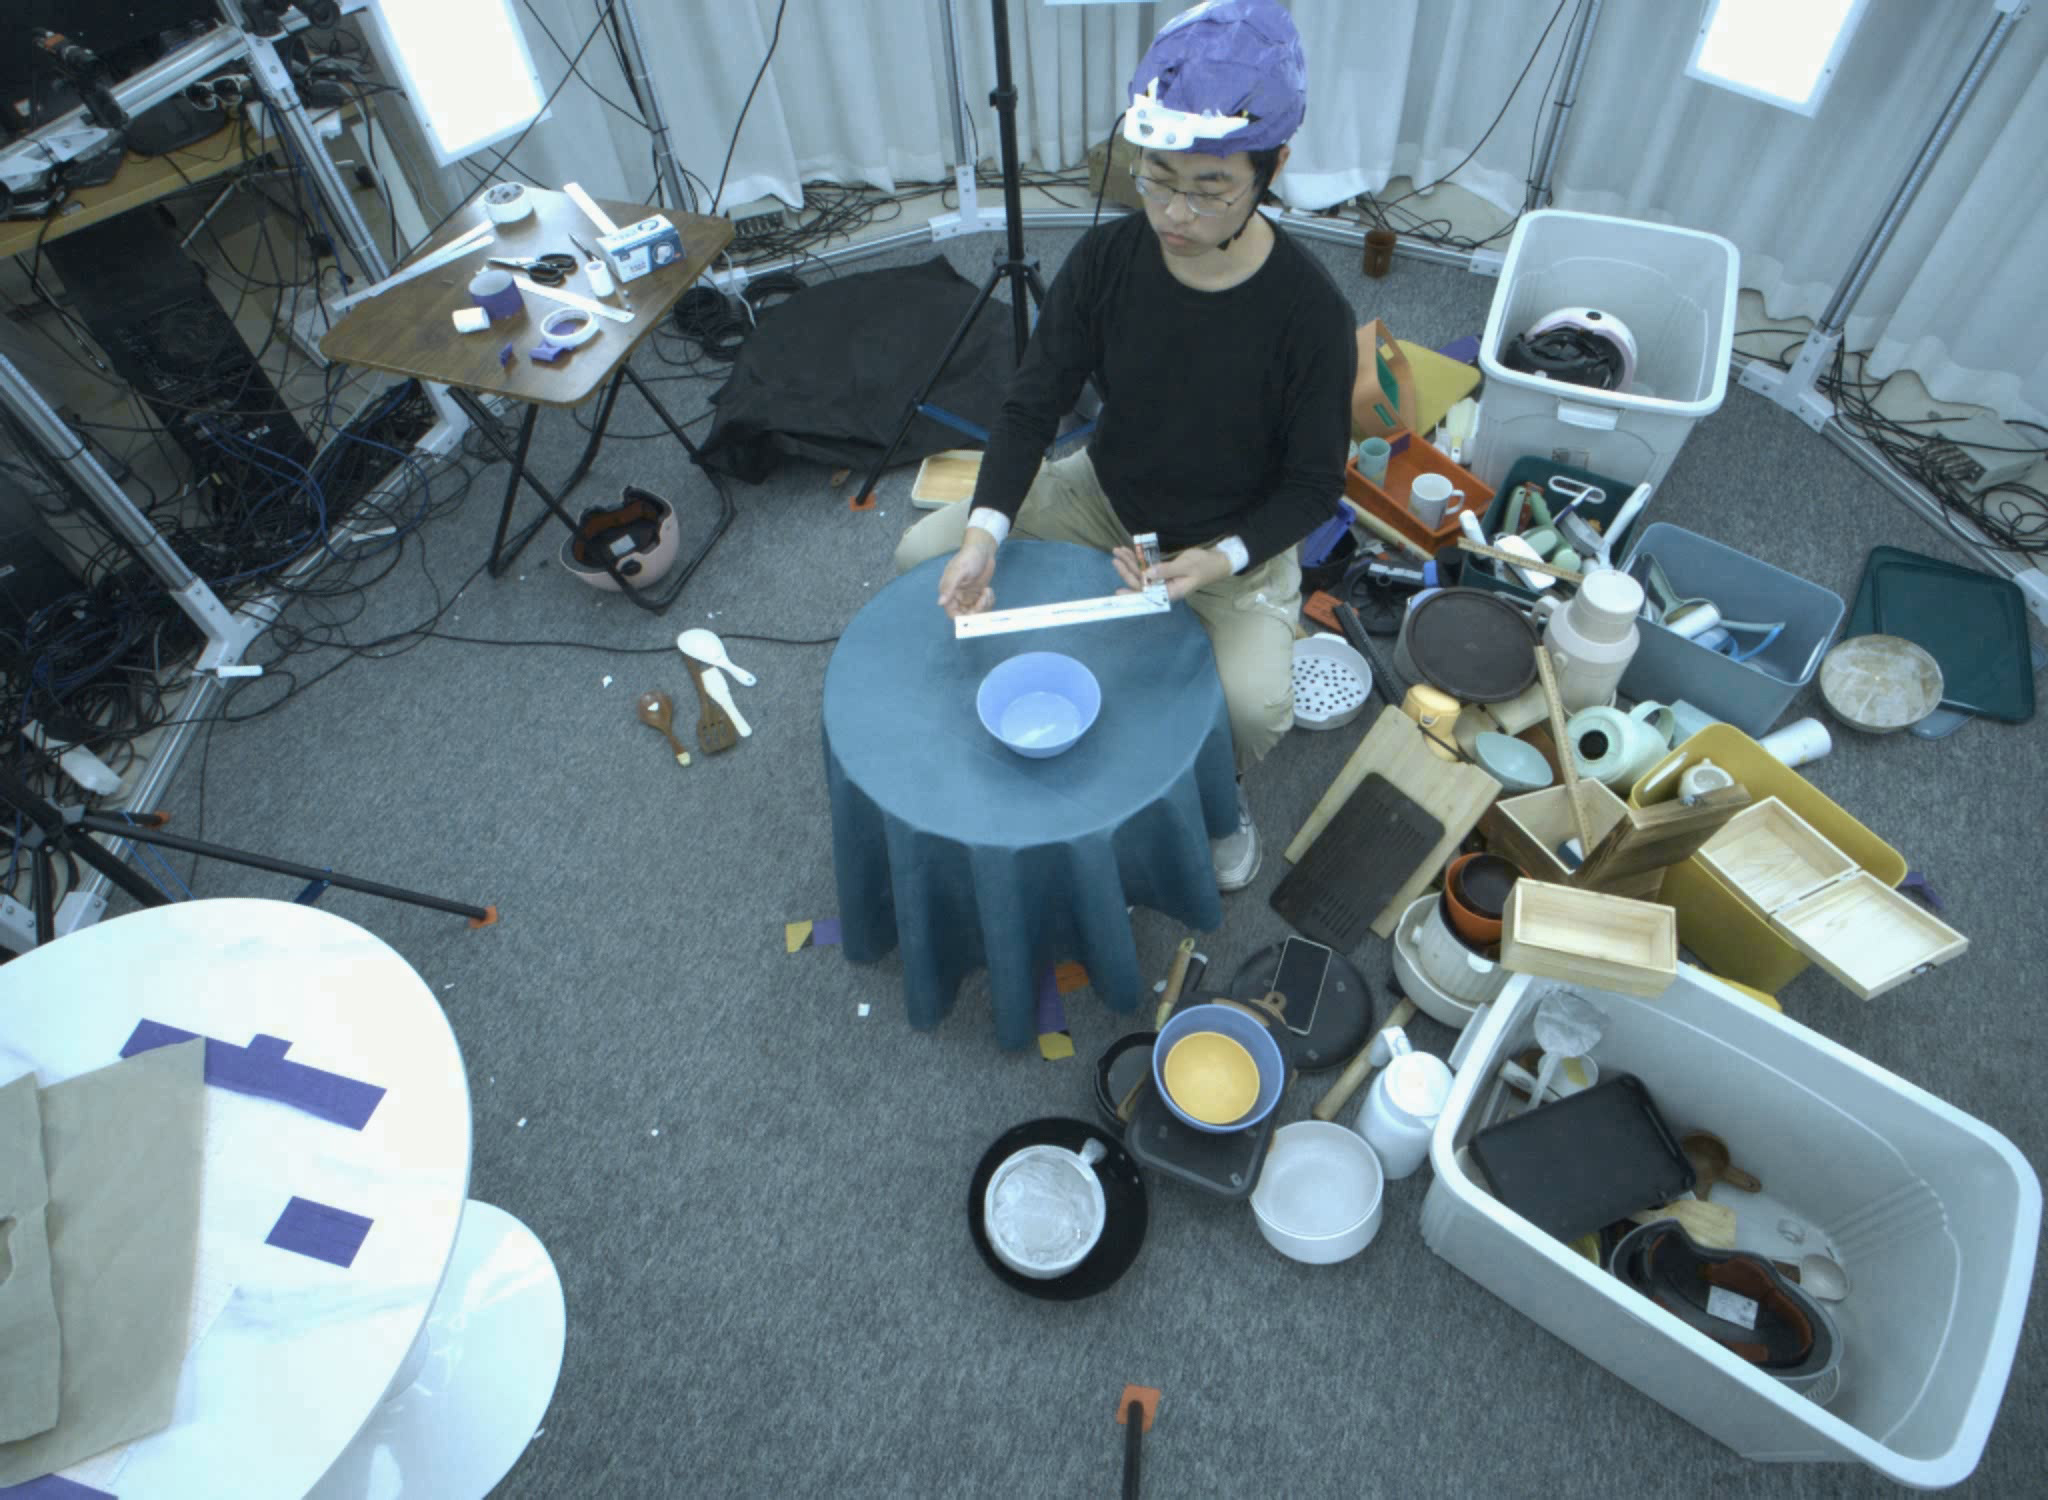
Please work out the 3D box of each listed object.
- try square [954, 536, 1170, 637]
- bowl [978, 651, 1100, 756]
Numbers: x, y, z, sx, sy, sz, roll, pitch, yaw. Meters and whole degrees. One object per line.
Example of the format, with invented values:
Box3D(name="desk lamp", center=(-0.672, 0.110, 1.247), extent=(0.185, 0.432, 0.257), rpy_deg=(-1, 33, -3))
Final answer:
Box3D(name="try square", center=(0.051, -0.241, 1.805), extent=(0.313, 0.016, 0.150), rpy_deg=(-7, 52, 1))
Box3D(name="bowl", center=(0.023, -0.056, 1.784), extent=(0.176, 0.071, 0.174), rpy_deg=(-1, 55, 2))
